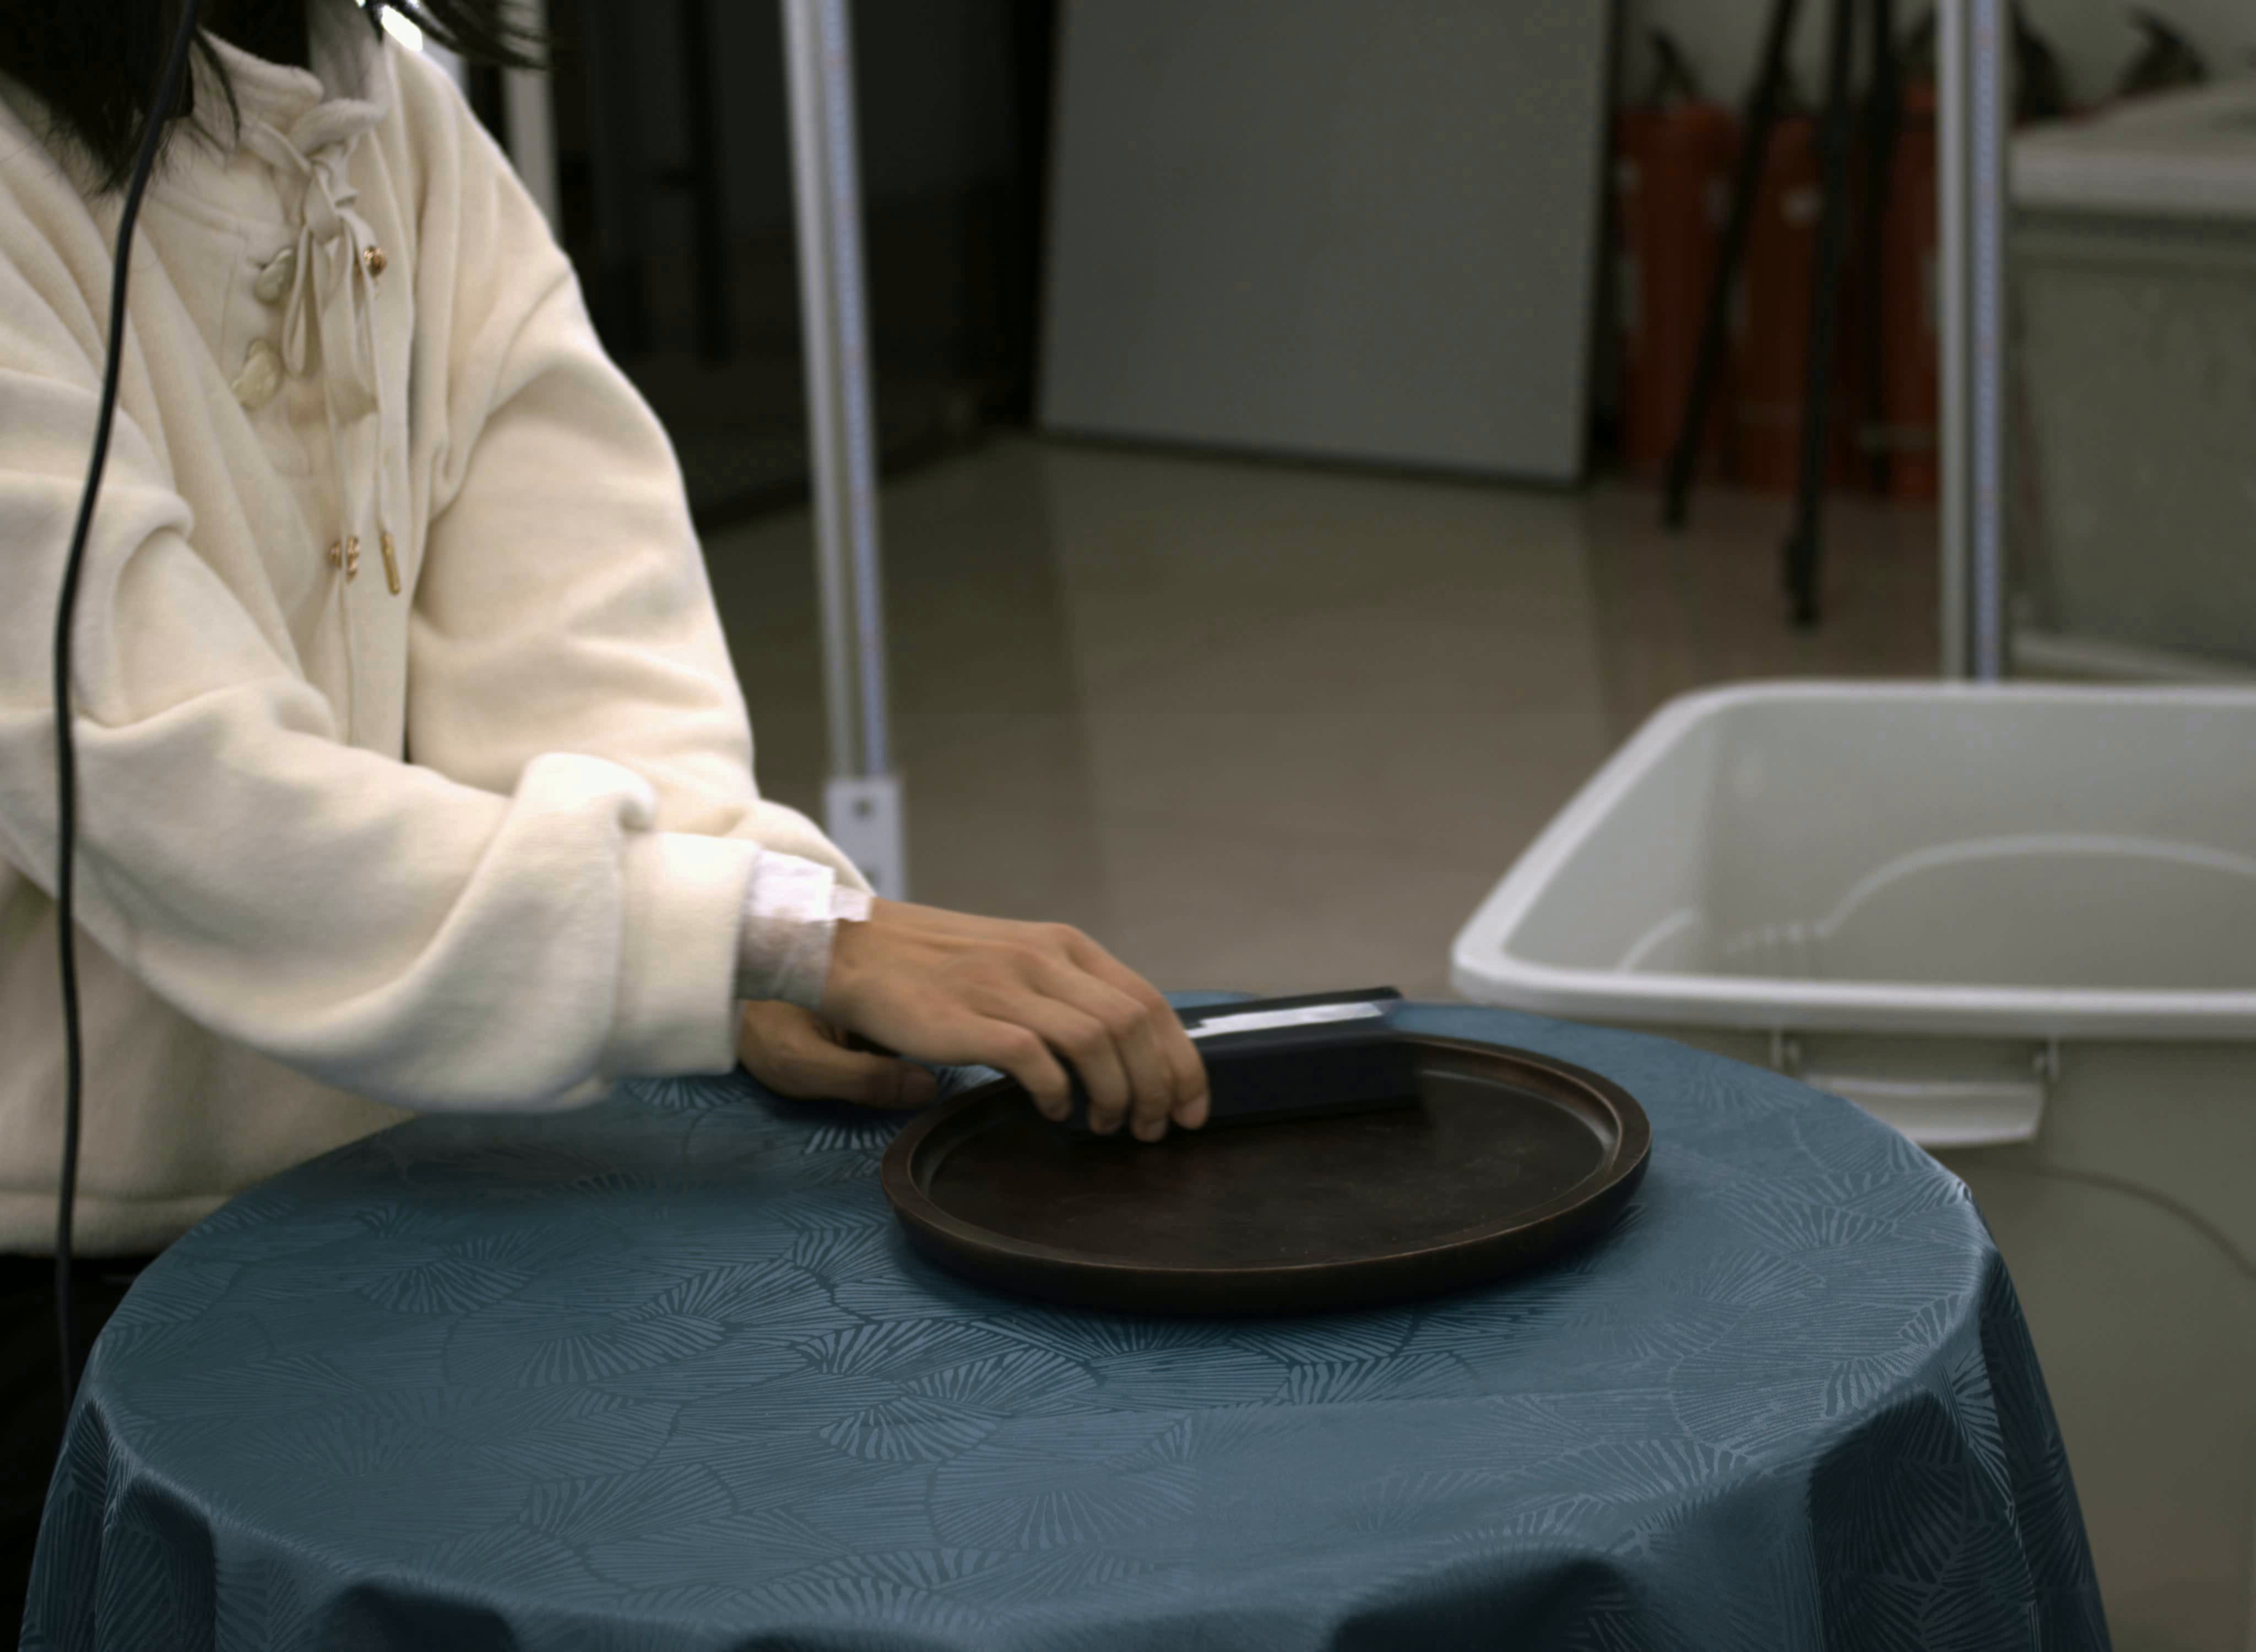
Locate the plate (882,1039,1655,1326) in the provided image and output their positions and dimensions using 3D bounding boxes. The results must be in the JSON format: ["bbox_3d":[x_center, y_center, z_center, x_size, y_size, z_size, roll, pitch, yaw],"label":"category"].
[{"bbox_3d":[0.045,0.112,1.744,0.251,0.029,0.255,-3,15,0],"label":"plate"}]

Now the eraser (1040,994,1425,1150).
[{"bbox_3d":[0.035,0.082,1.808,0.123,0.031,0.054,-7,13,-8],"label":"eraser"}]
